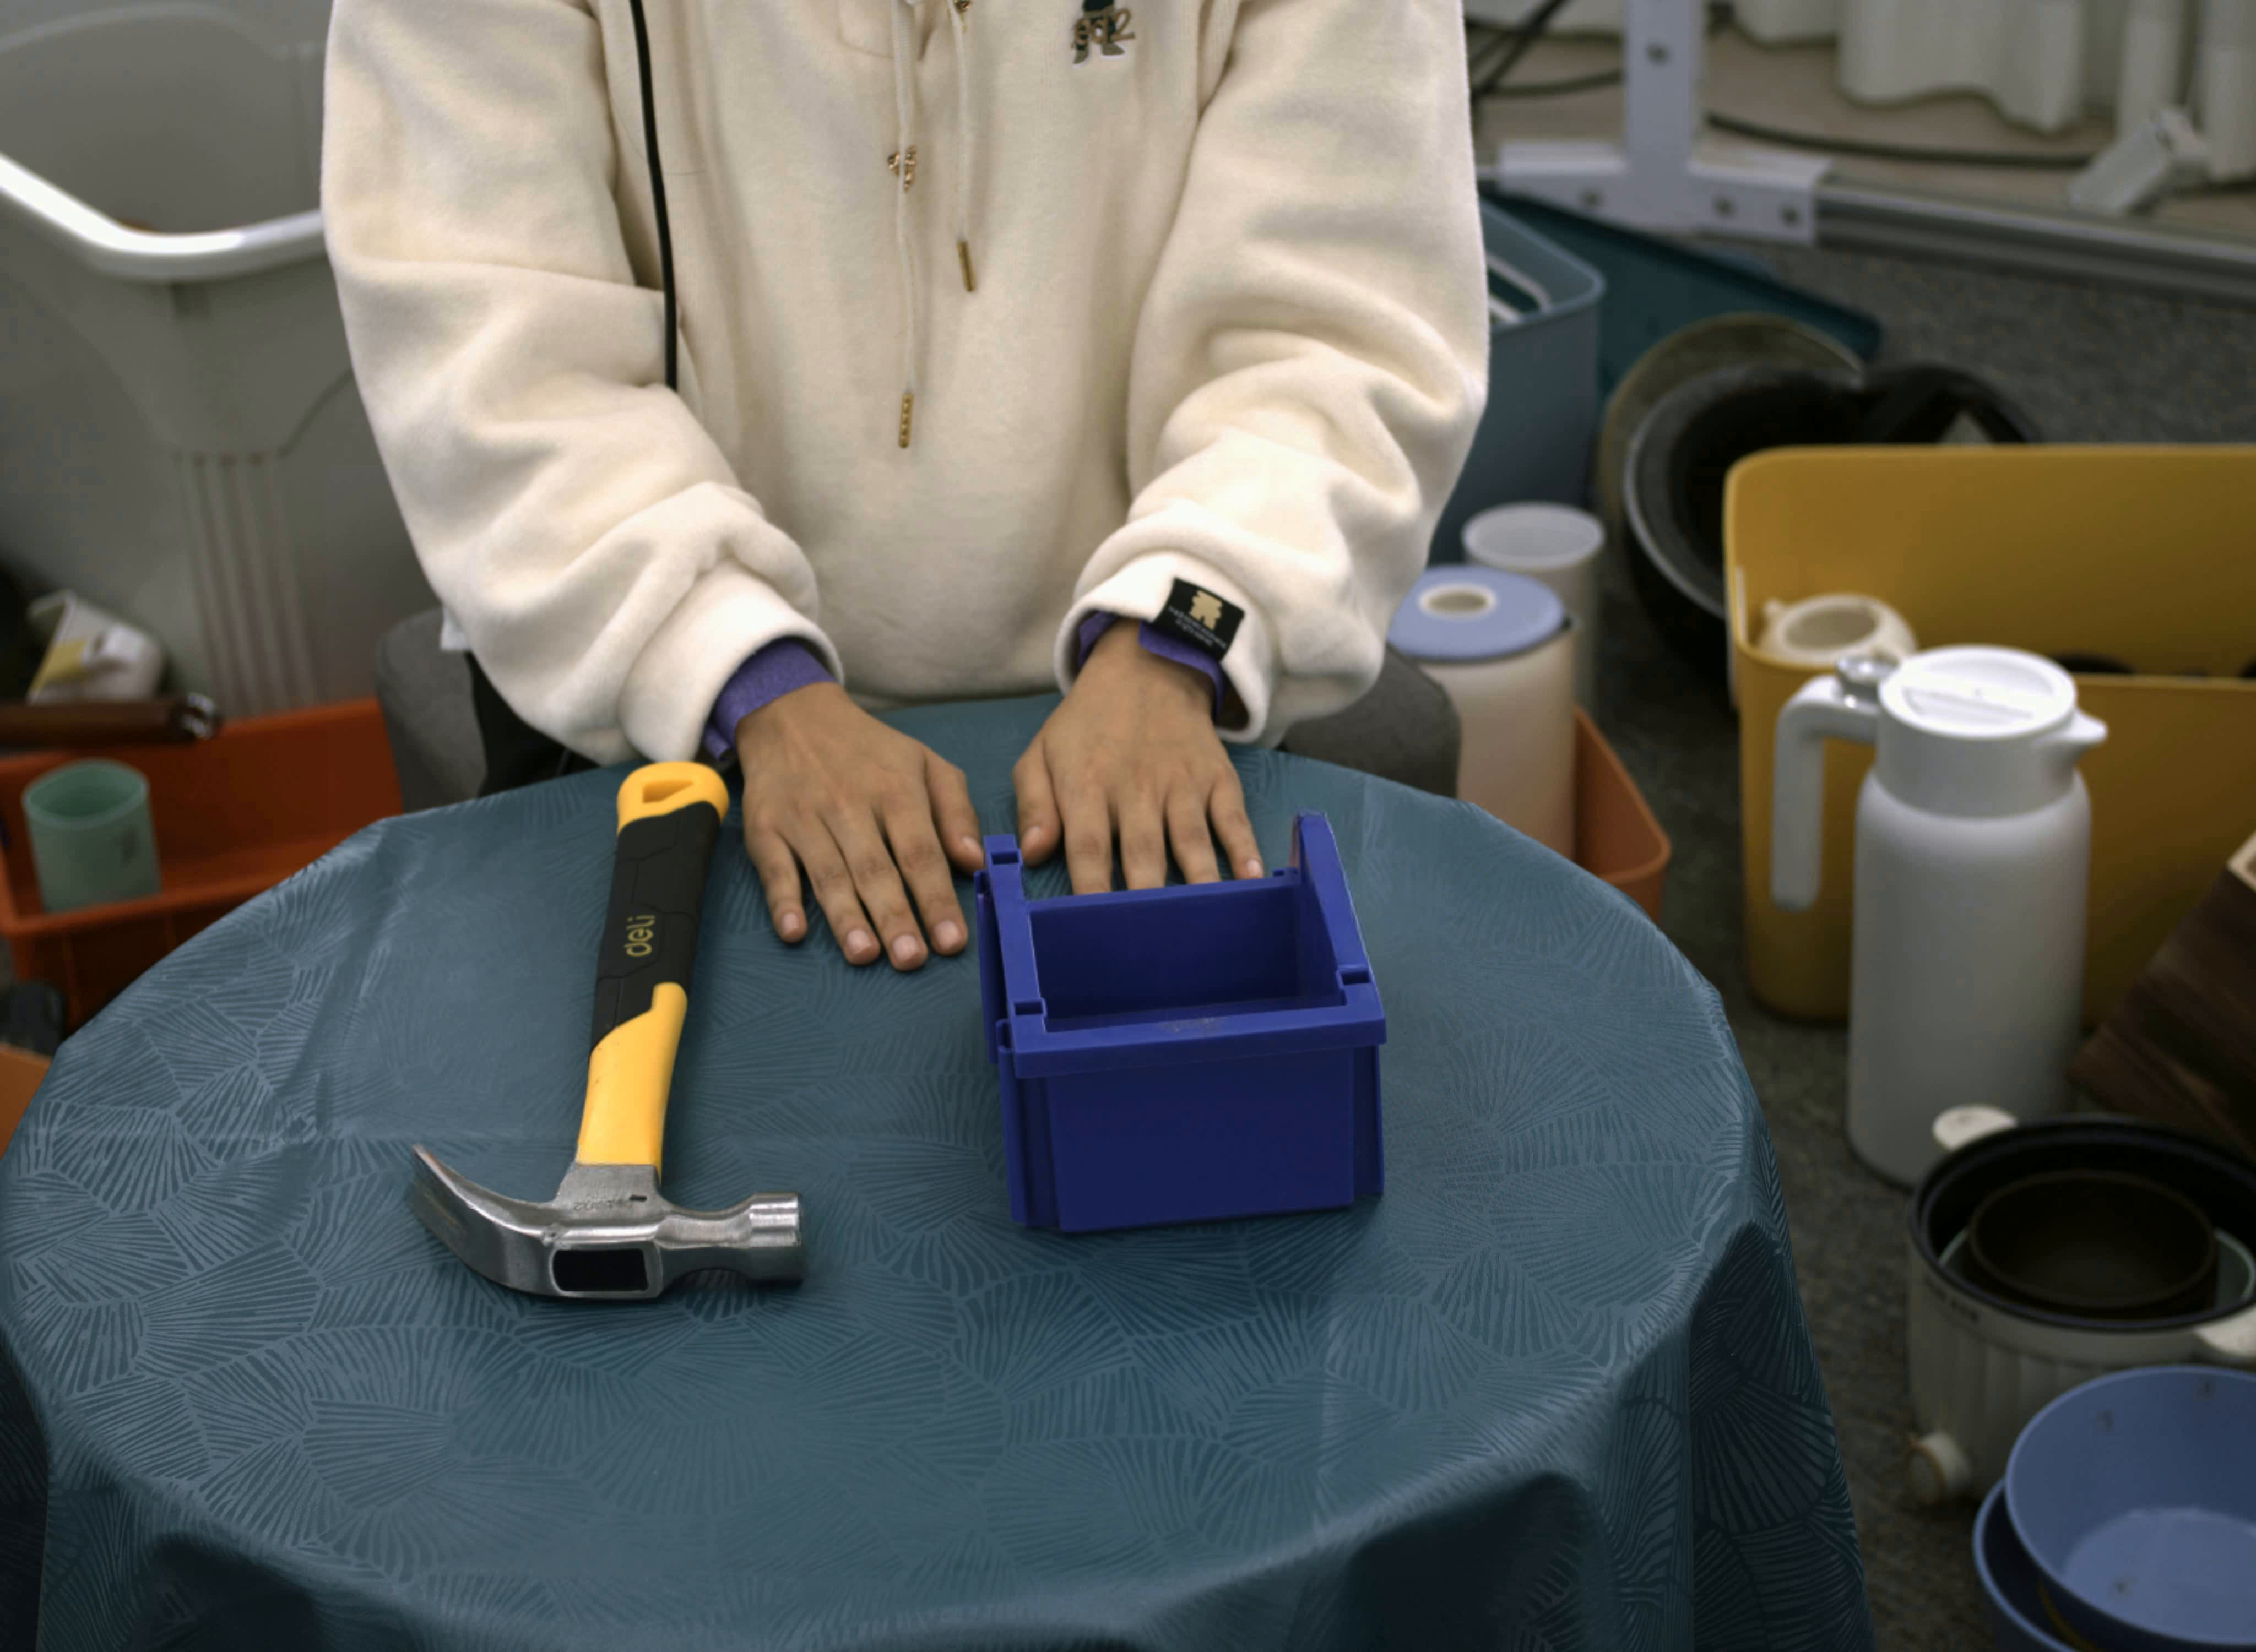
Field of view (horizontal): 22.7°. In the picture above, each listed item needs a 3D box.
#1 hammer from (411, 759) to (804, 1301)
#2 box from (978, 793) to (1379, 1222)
[{"bbox_3d":[-0.169,0.063,1.954,0.131,0.032,0.344,-3,28,3],"label":"hammer"},{"bbox_3d":[0.014,0.056,1.900,0.124,0.081,0.182,-5,29,-3],"label":"box"}]
